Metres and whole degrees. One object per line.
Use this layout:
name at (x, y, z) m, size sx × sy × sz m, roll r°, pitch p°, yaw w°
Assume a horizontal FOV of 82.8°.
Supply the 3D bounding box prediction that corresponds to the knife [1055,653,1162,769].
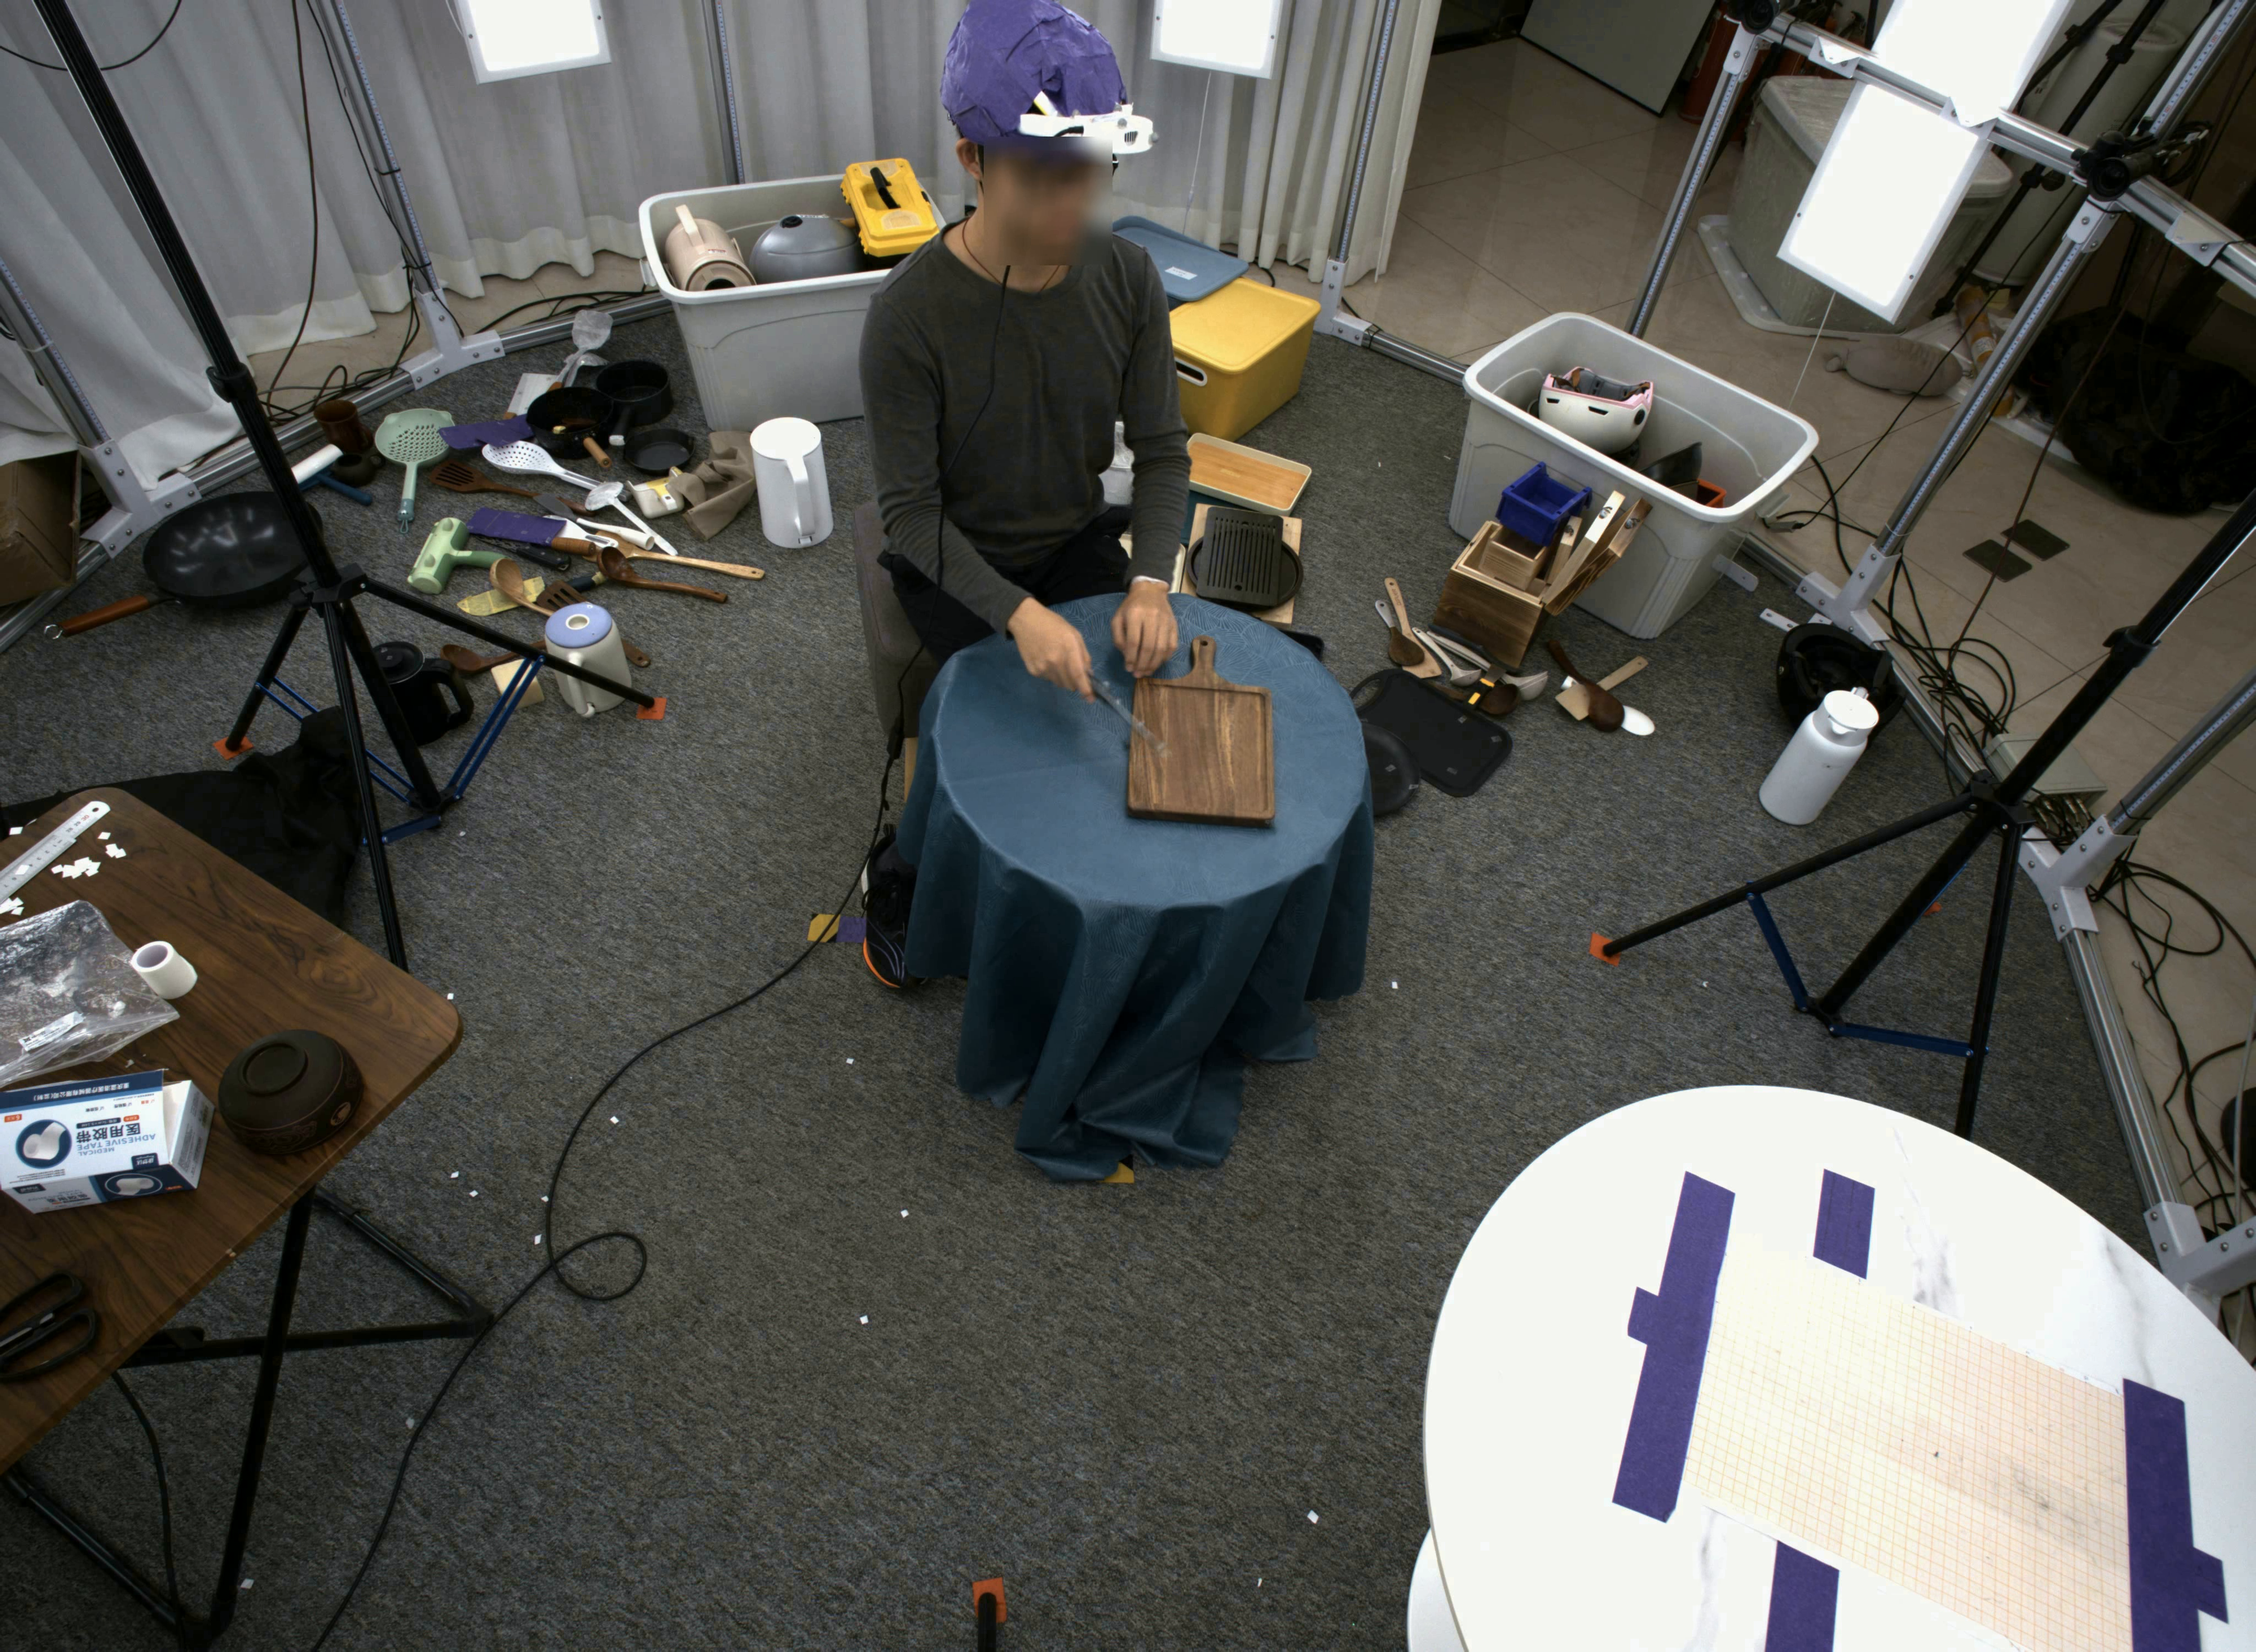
knife at (-0.027, -0.155, 1.705) m, size 0.016 × 0.024 × 0.242 m, roll -39°, pitch 62°, yaw -3°

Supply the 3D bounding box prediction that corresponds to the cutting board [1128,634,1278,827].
cutting board at (0.103, -0.143, 1.785) m, size 0.201 × 0.022 × 0.361 m, roll 4°, pitch 49°, yaw -1°
